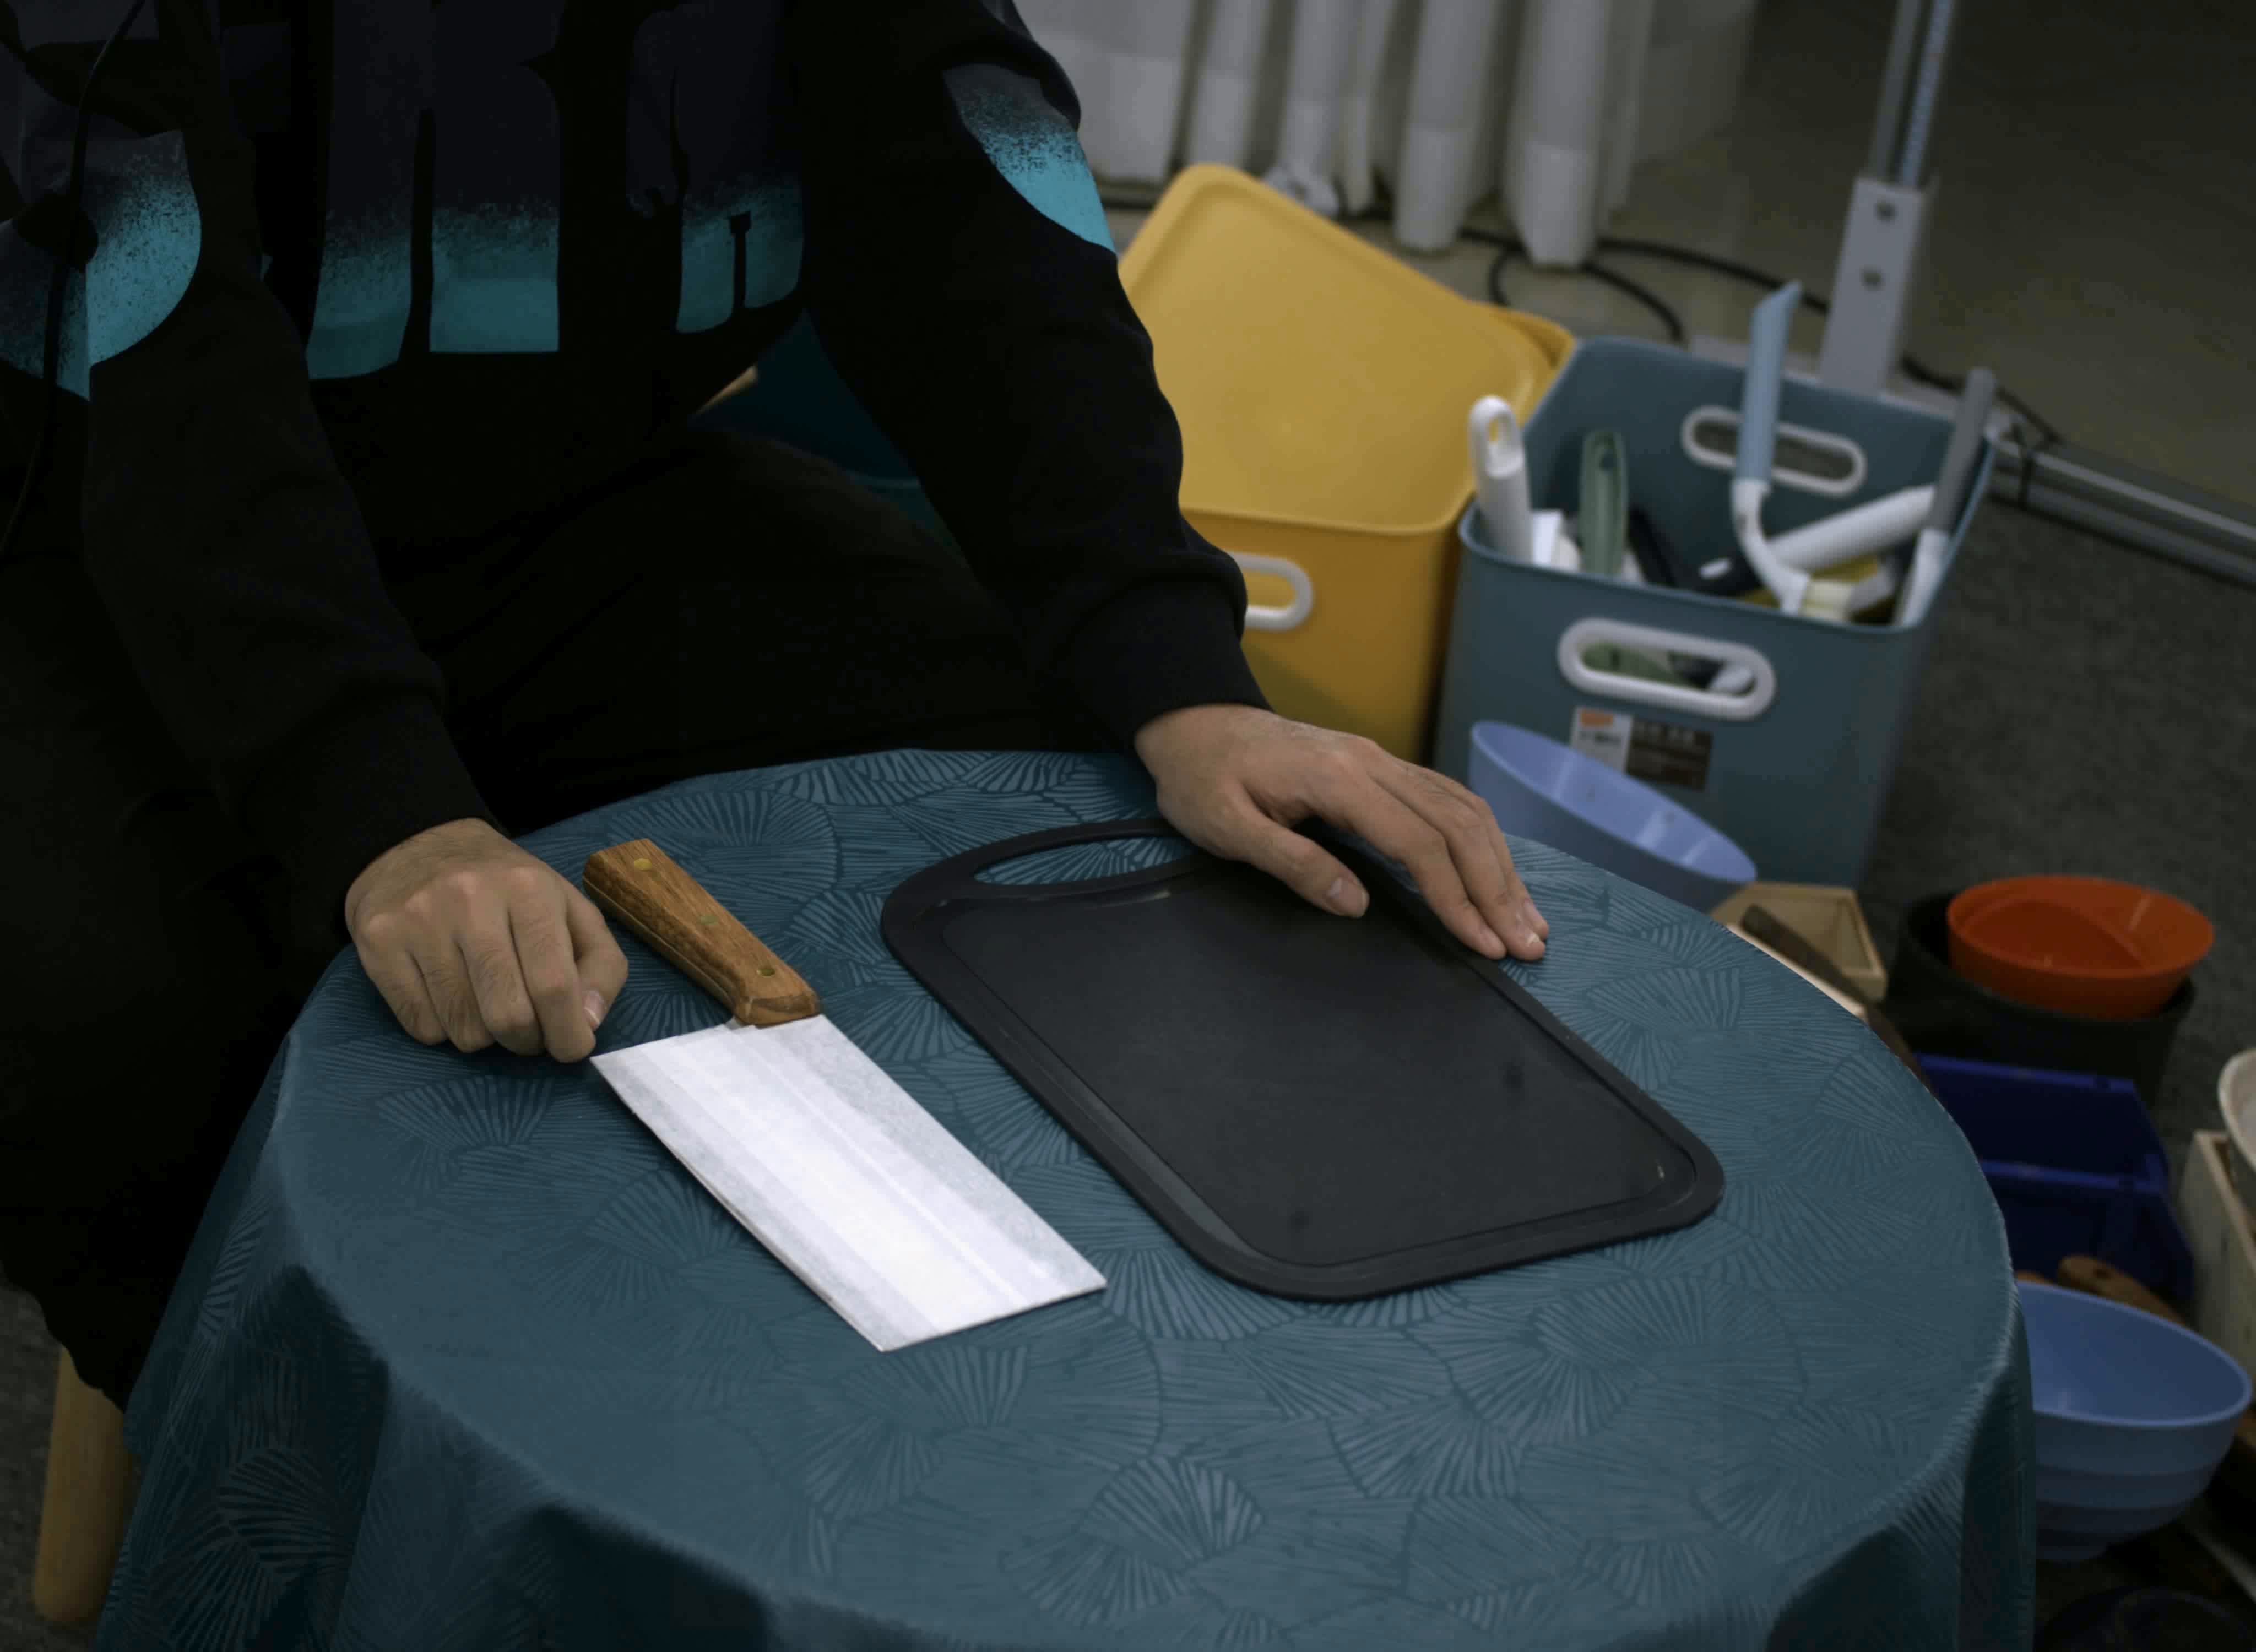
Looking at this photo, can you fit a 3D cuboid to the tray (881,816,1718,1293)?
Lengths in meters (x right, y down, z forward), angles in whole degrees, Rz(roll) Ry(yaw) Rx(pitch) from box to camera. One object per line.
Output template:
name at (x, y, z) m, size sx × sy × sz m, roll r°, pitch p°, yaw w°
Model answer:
tray at (0.052, 0.072, 1.906) m, size 0.210 × 0.010 × 0.328 m, roll -9°, pitch 31°, yaw -28°

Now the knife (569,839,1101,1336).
knife at (-0.127, 0.088, 1.827) m, size 0.092 × 0.021 × 0.308 m, roll -14°, pitch 36°, yaw -32°
